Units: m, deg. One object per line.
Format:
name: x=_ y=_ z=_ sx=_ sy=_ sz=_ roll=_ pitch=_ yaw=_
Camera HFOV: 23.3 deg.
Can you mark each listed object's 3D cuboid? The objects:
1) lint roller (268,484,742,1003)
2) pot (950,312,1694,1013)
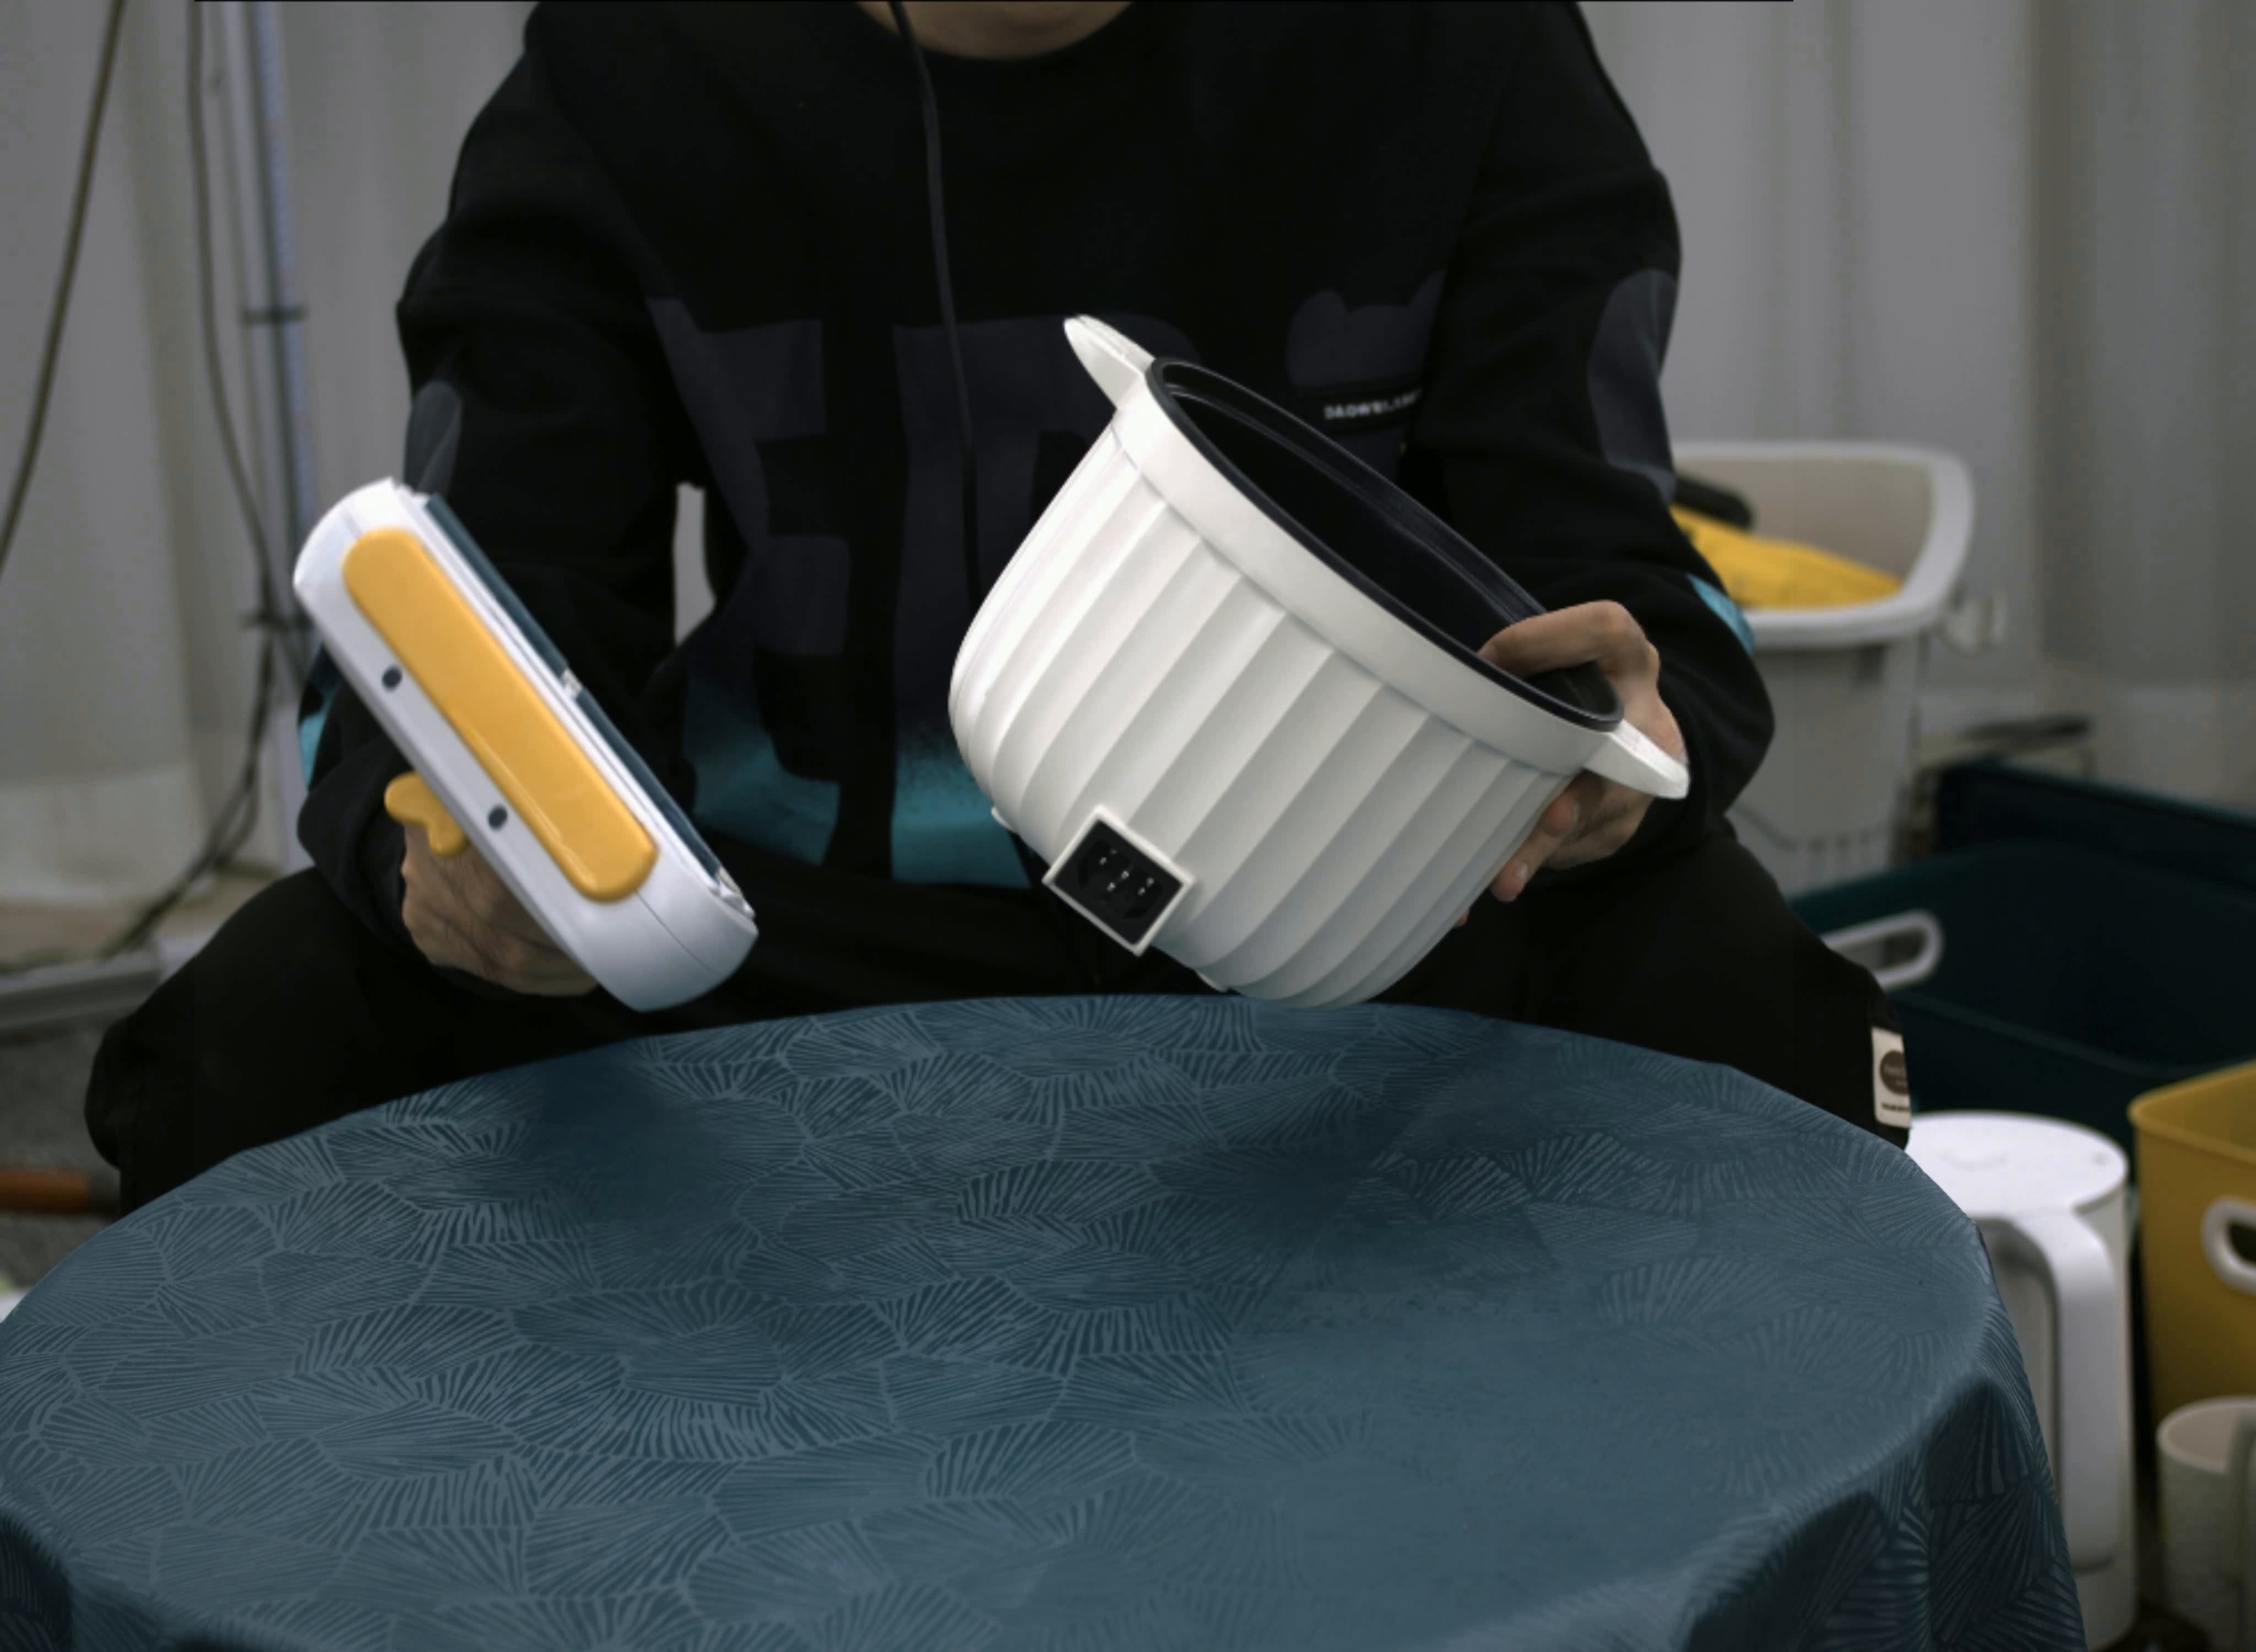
lint roller: x=-0.187 y=-0.001 z=1.725 sx=0.194 sy=0.074 sz=0.190 roll=44 pitch=-9 yaw=22
pot: x=0.041 y=-0.038 z=1.691 sx=0.240 sy=0.142 sz=0.191 roll=39 pitch=15 yaw=1
